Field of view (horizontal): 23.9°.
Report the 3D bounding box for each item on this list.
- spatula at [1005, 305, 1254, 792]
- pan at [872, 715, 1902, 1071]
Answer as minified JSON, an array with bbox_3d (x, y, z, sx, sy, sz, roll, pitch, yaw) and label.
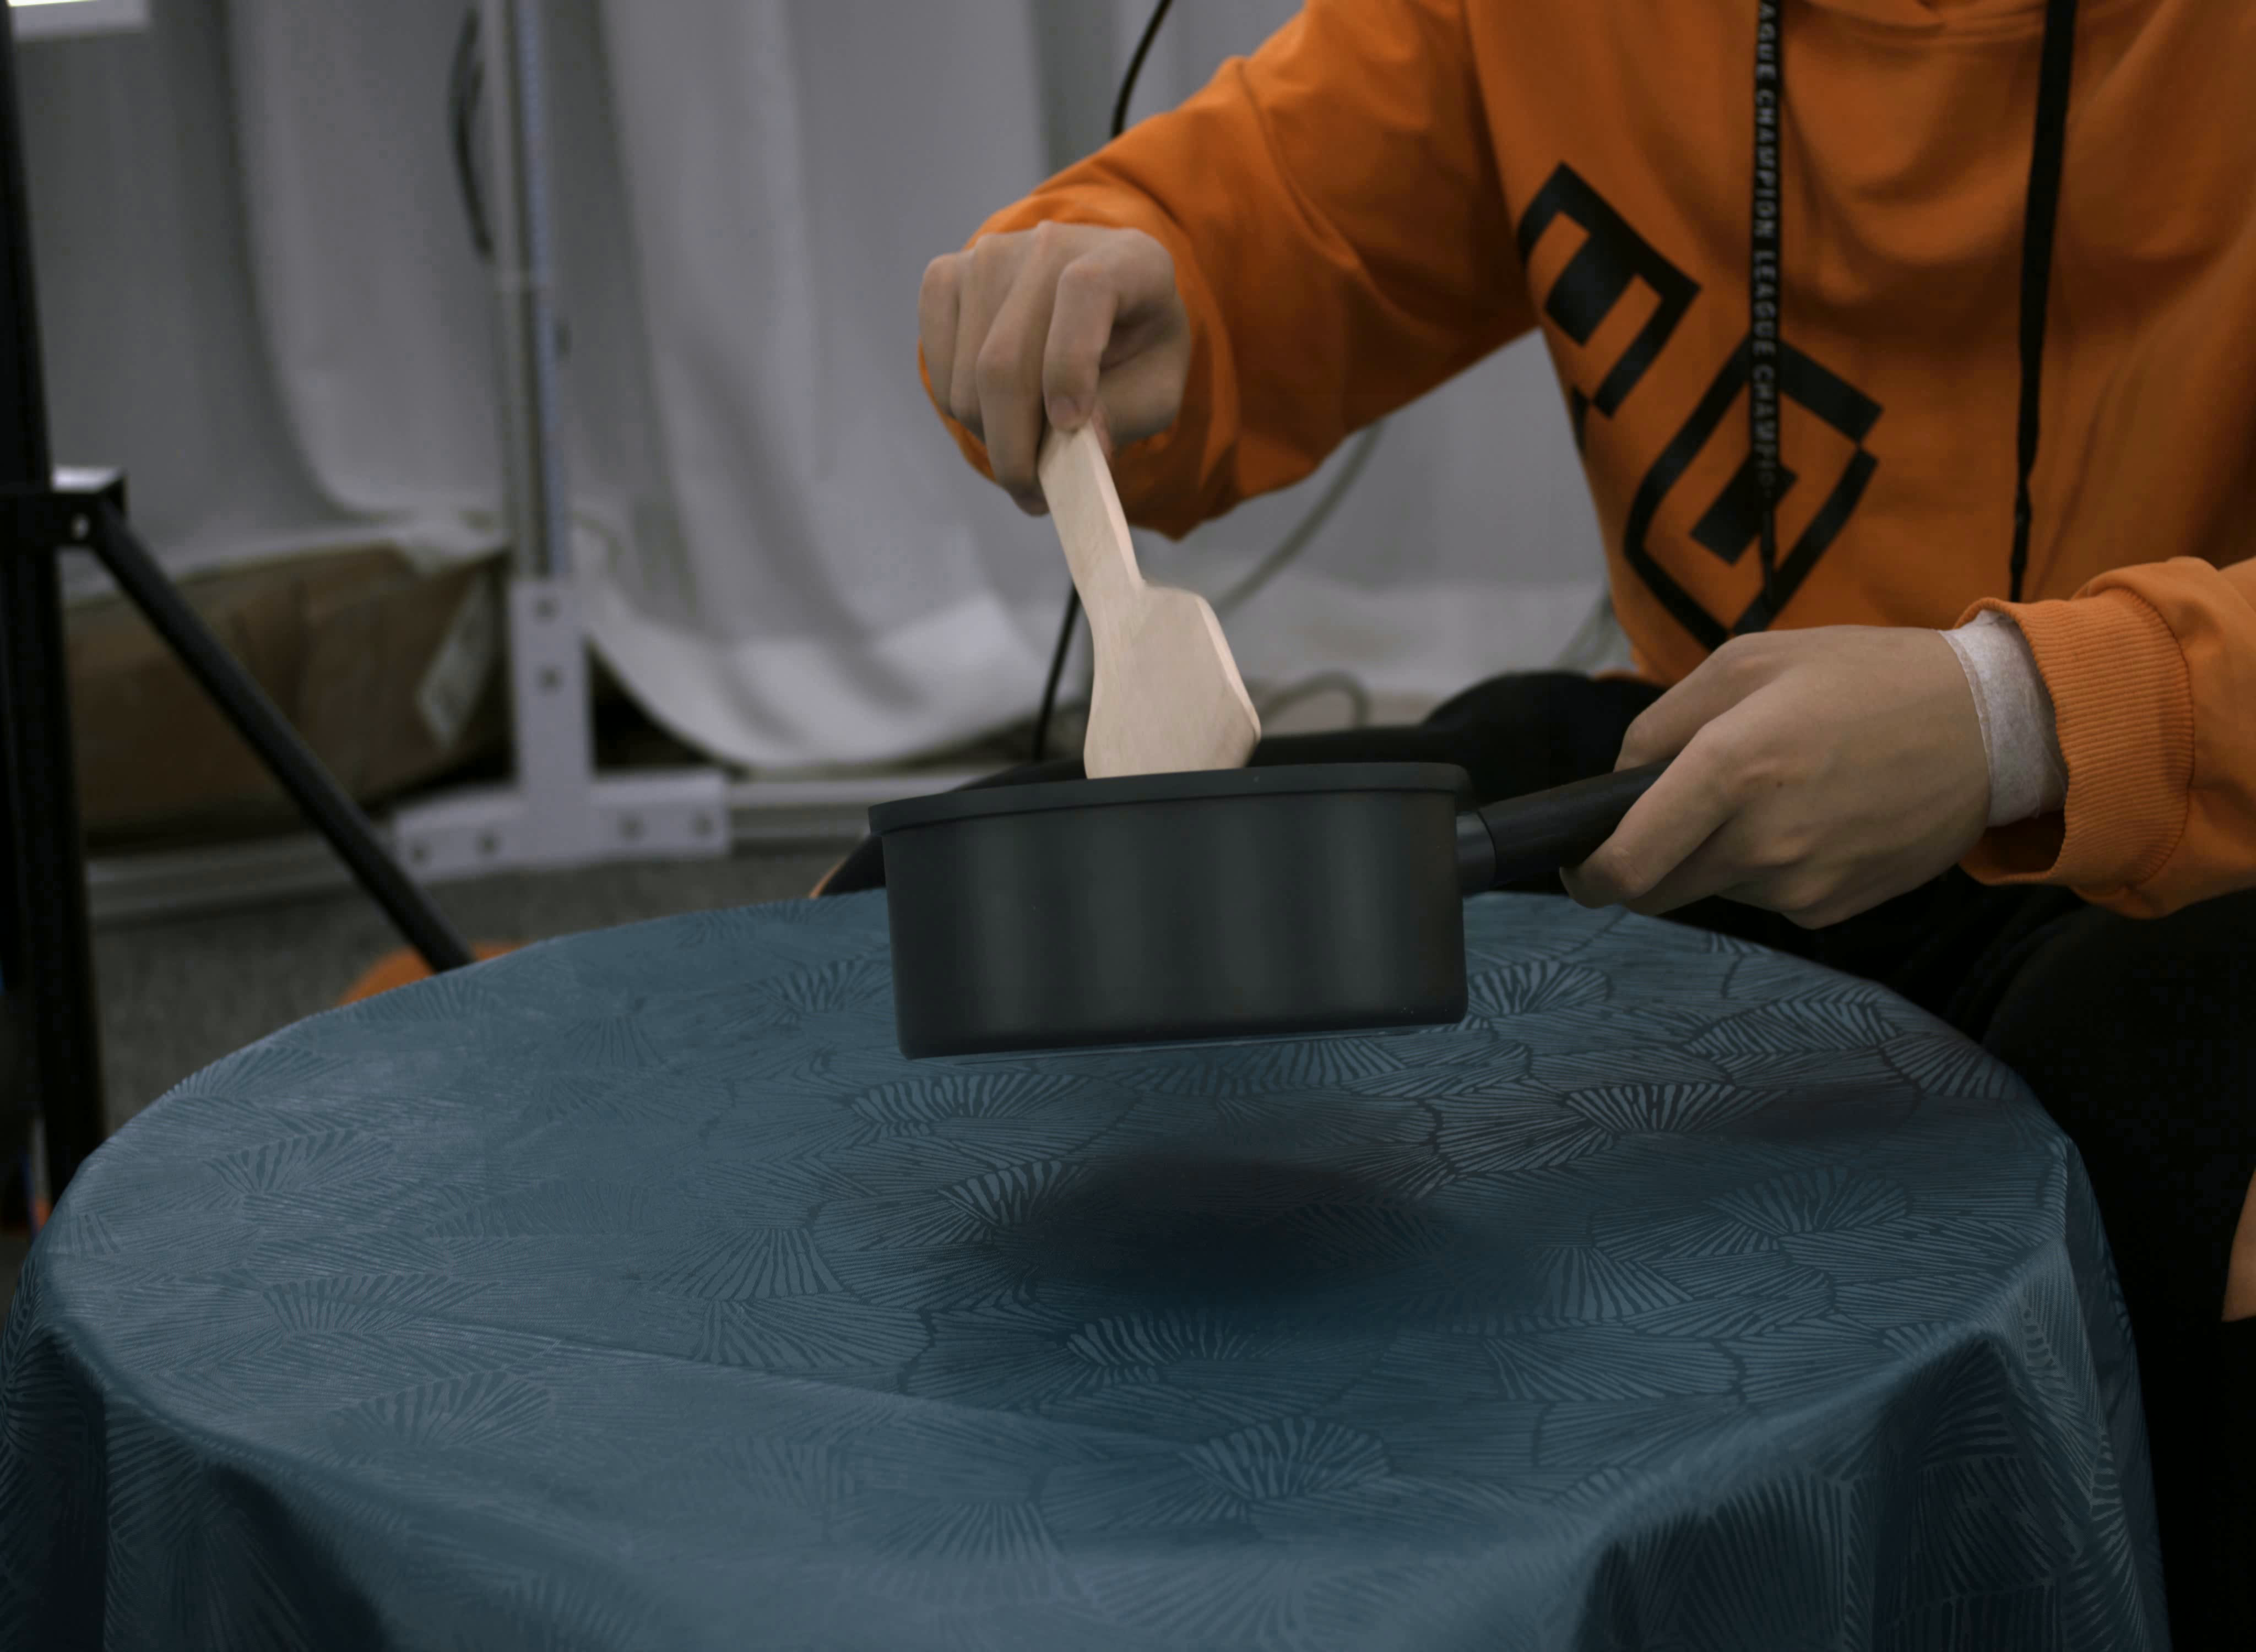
[{"bbox_3d":[-0.007,-0.084,1.615,0.010,0.072,0.297,16,27,-21],"label":"spatula"},{"bbox_3d":[0.084,0.020,1.543,0.321,0.087,0.175,-4,-2,-25],"label":"pan"}]
